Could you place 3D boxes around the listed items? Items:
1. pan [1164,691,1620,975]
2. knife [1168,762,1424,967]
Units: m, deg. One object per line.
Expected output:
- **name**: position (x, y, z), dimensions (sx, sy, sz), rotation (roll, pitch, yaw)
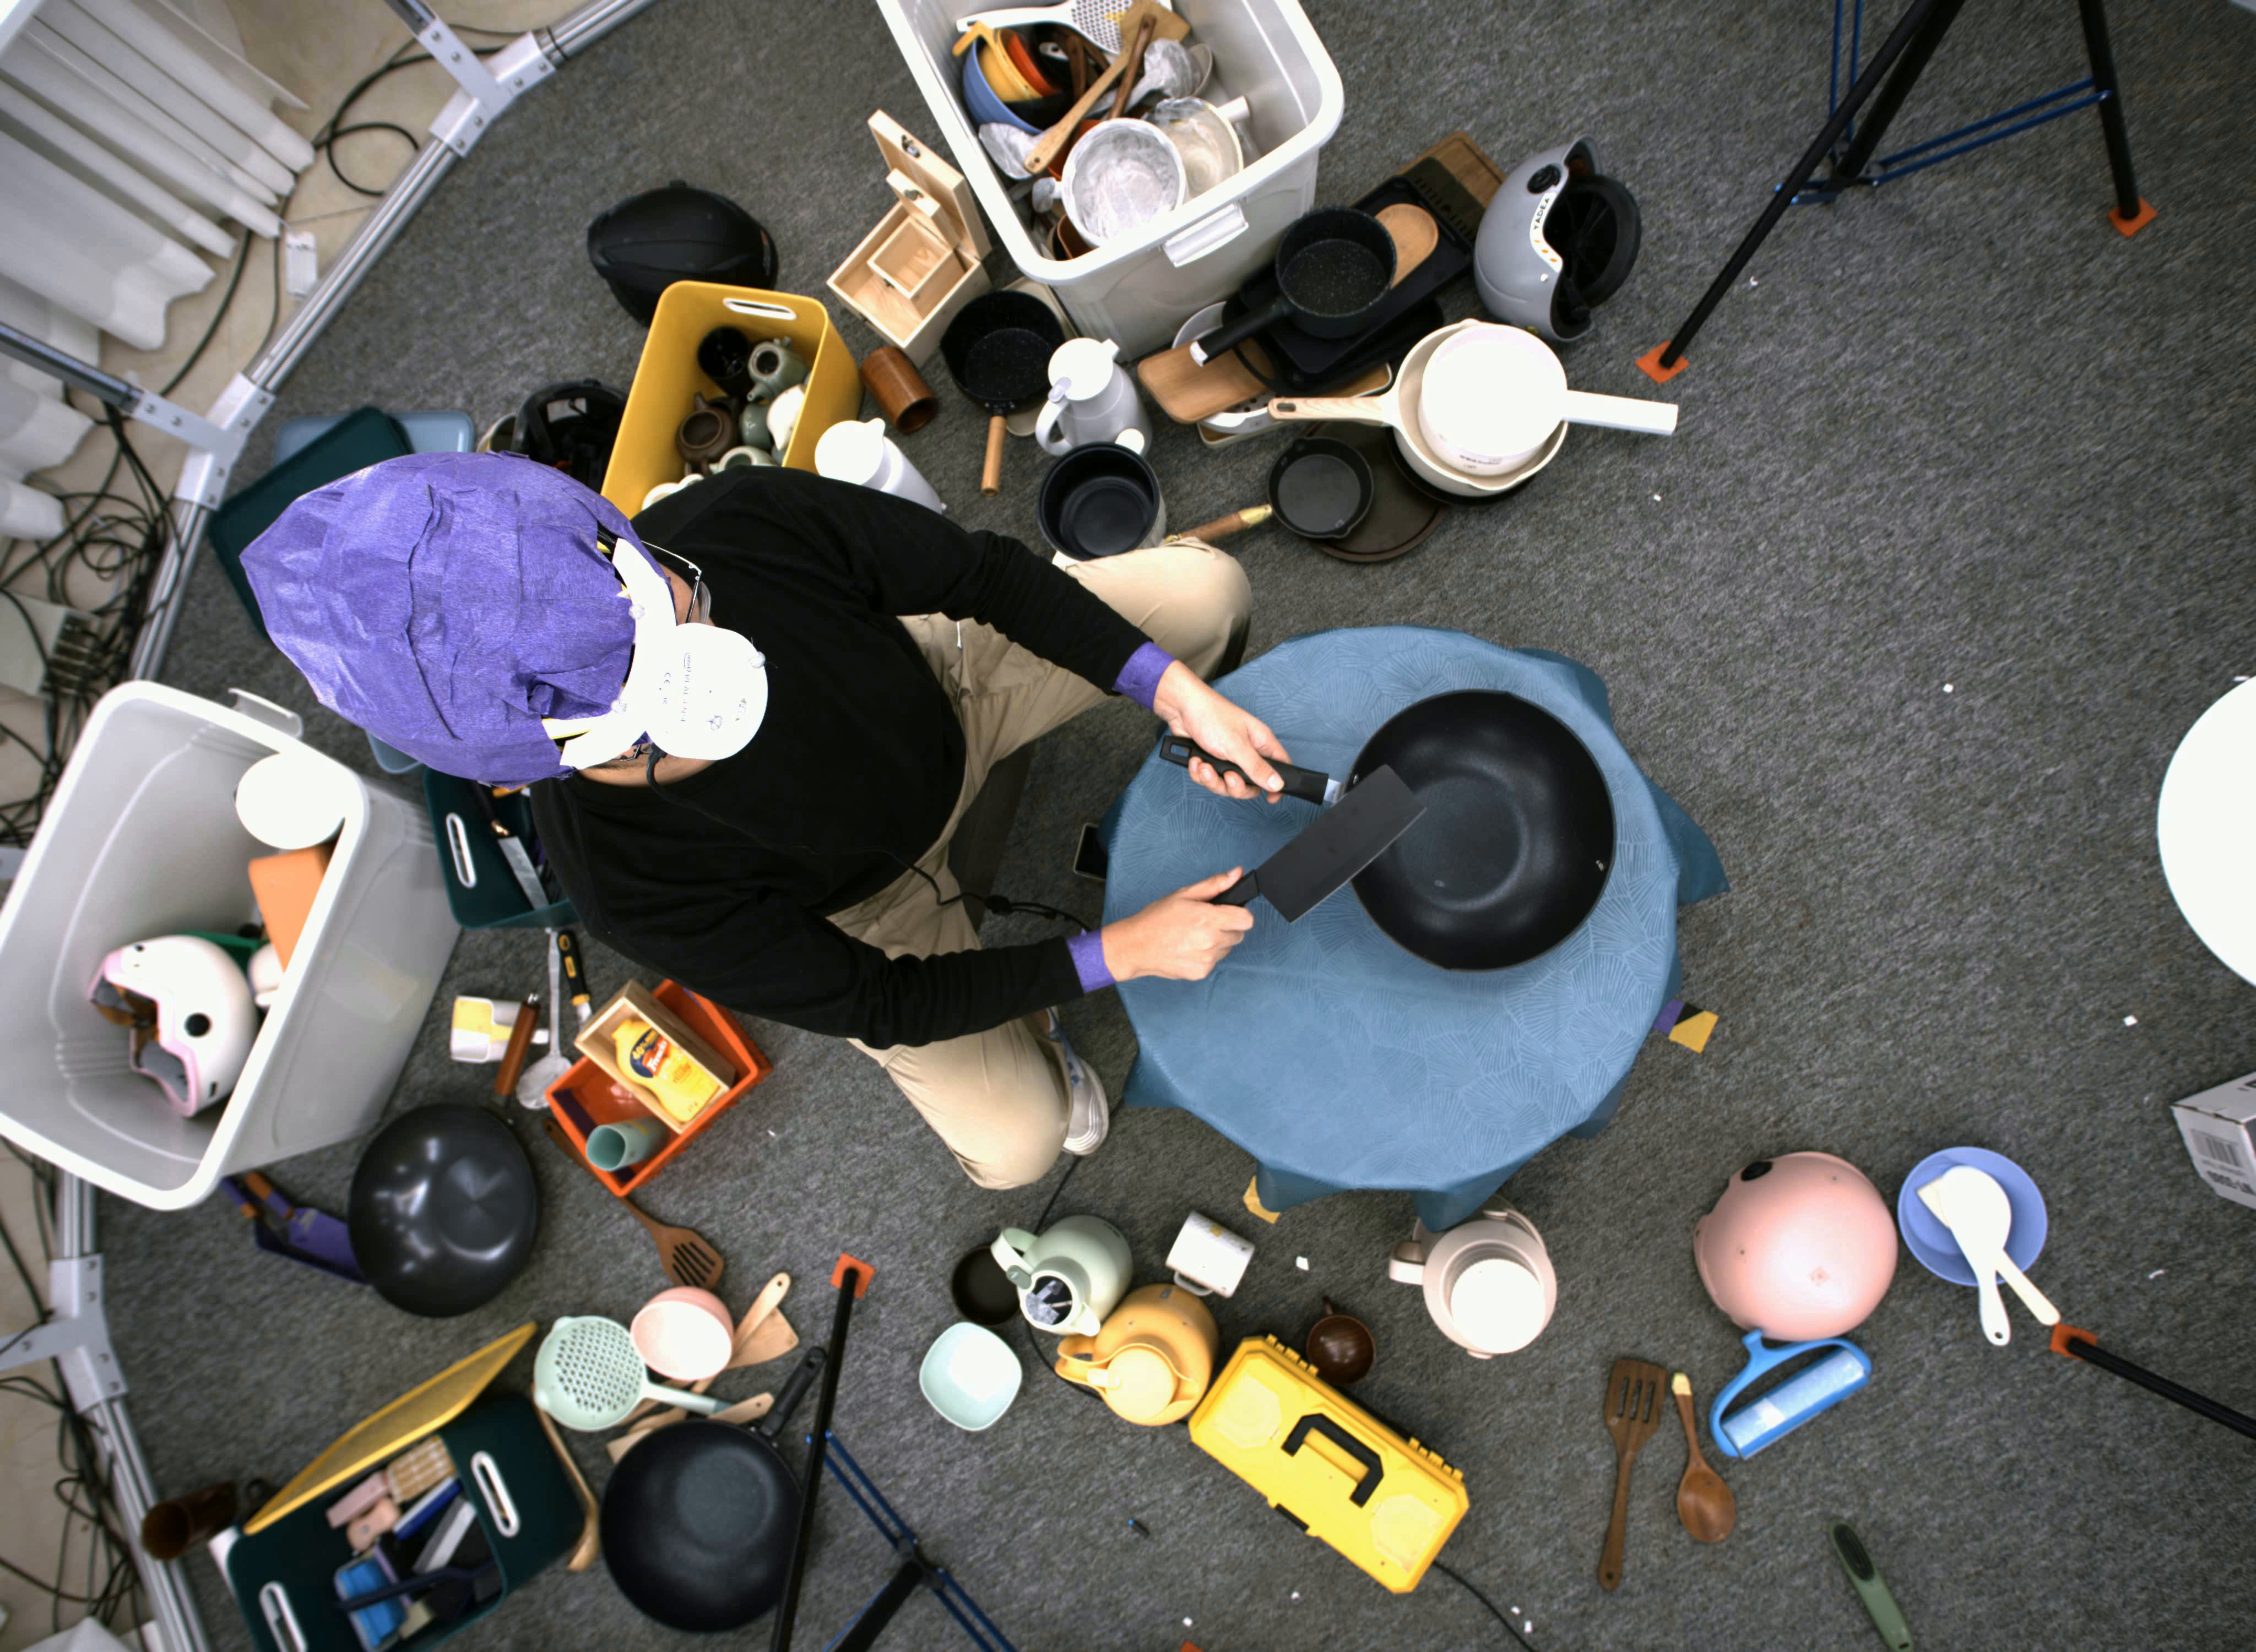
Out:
- **pan**: position (0.260, -0.016, 1.400), dimensions (0.464, 0.087, 0.287), rotation (15, 87, 2)
- **knife**: position (0.157, 0.049, 1.367), dimensions (0.307, 0.020, 0.081), rotation (-37, 97, 23)
